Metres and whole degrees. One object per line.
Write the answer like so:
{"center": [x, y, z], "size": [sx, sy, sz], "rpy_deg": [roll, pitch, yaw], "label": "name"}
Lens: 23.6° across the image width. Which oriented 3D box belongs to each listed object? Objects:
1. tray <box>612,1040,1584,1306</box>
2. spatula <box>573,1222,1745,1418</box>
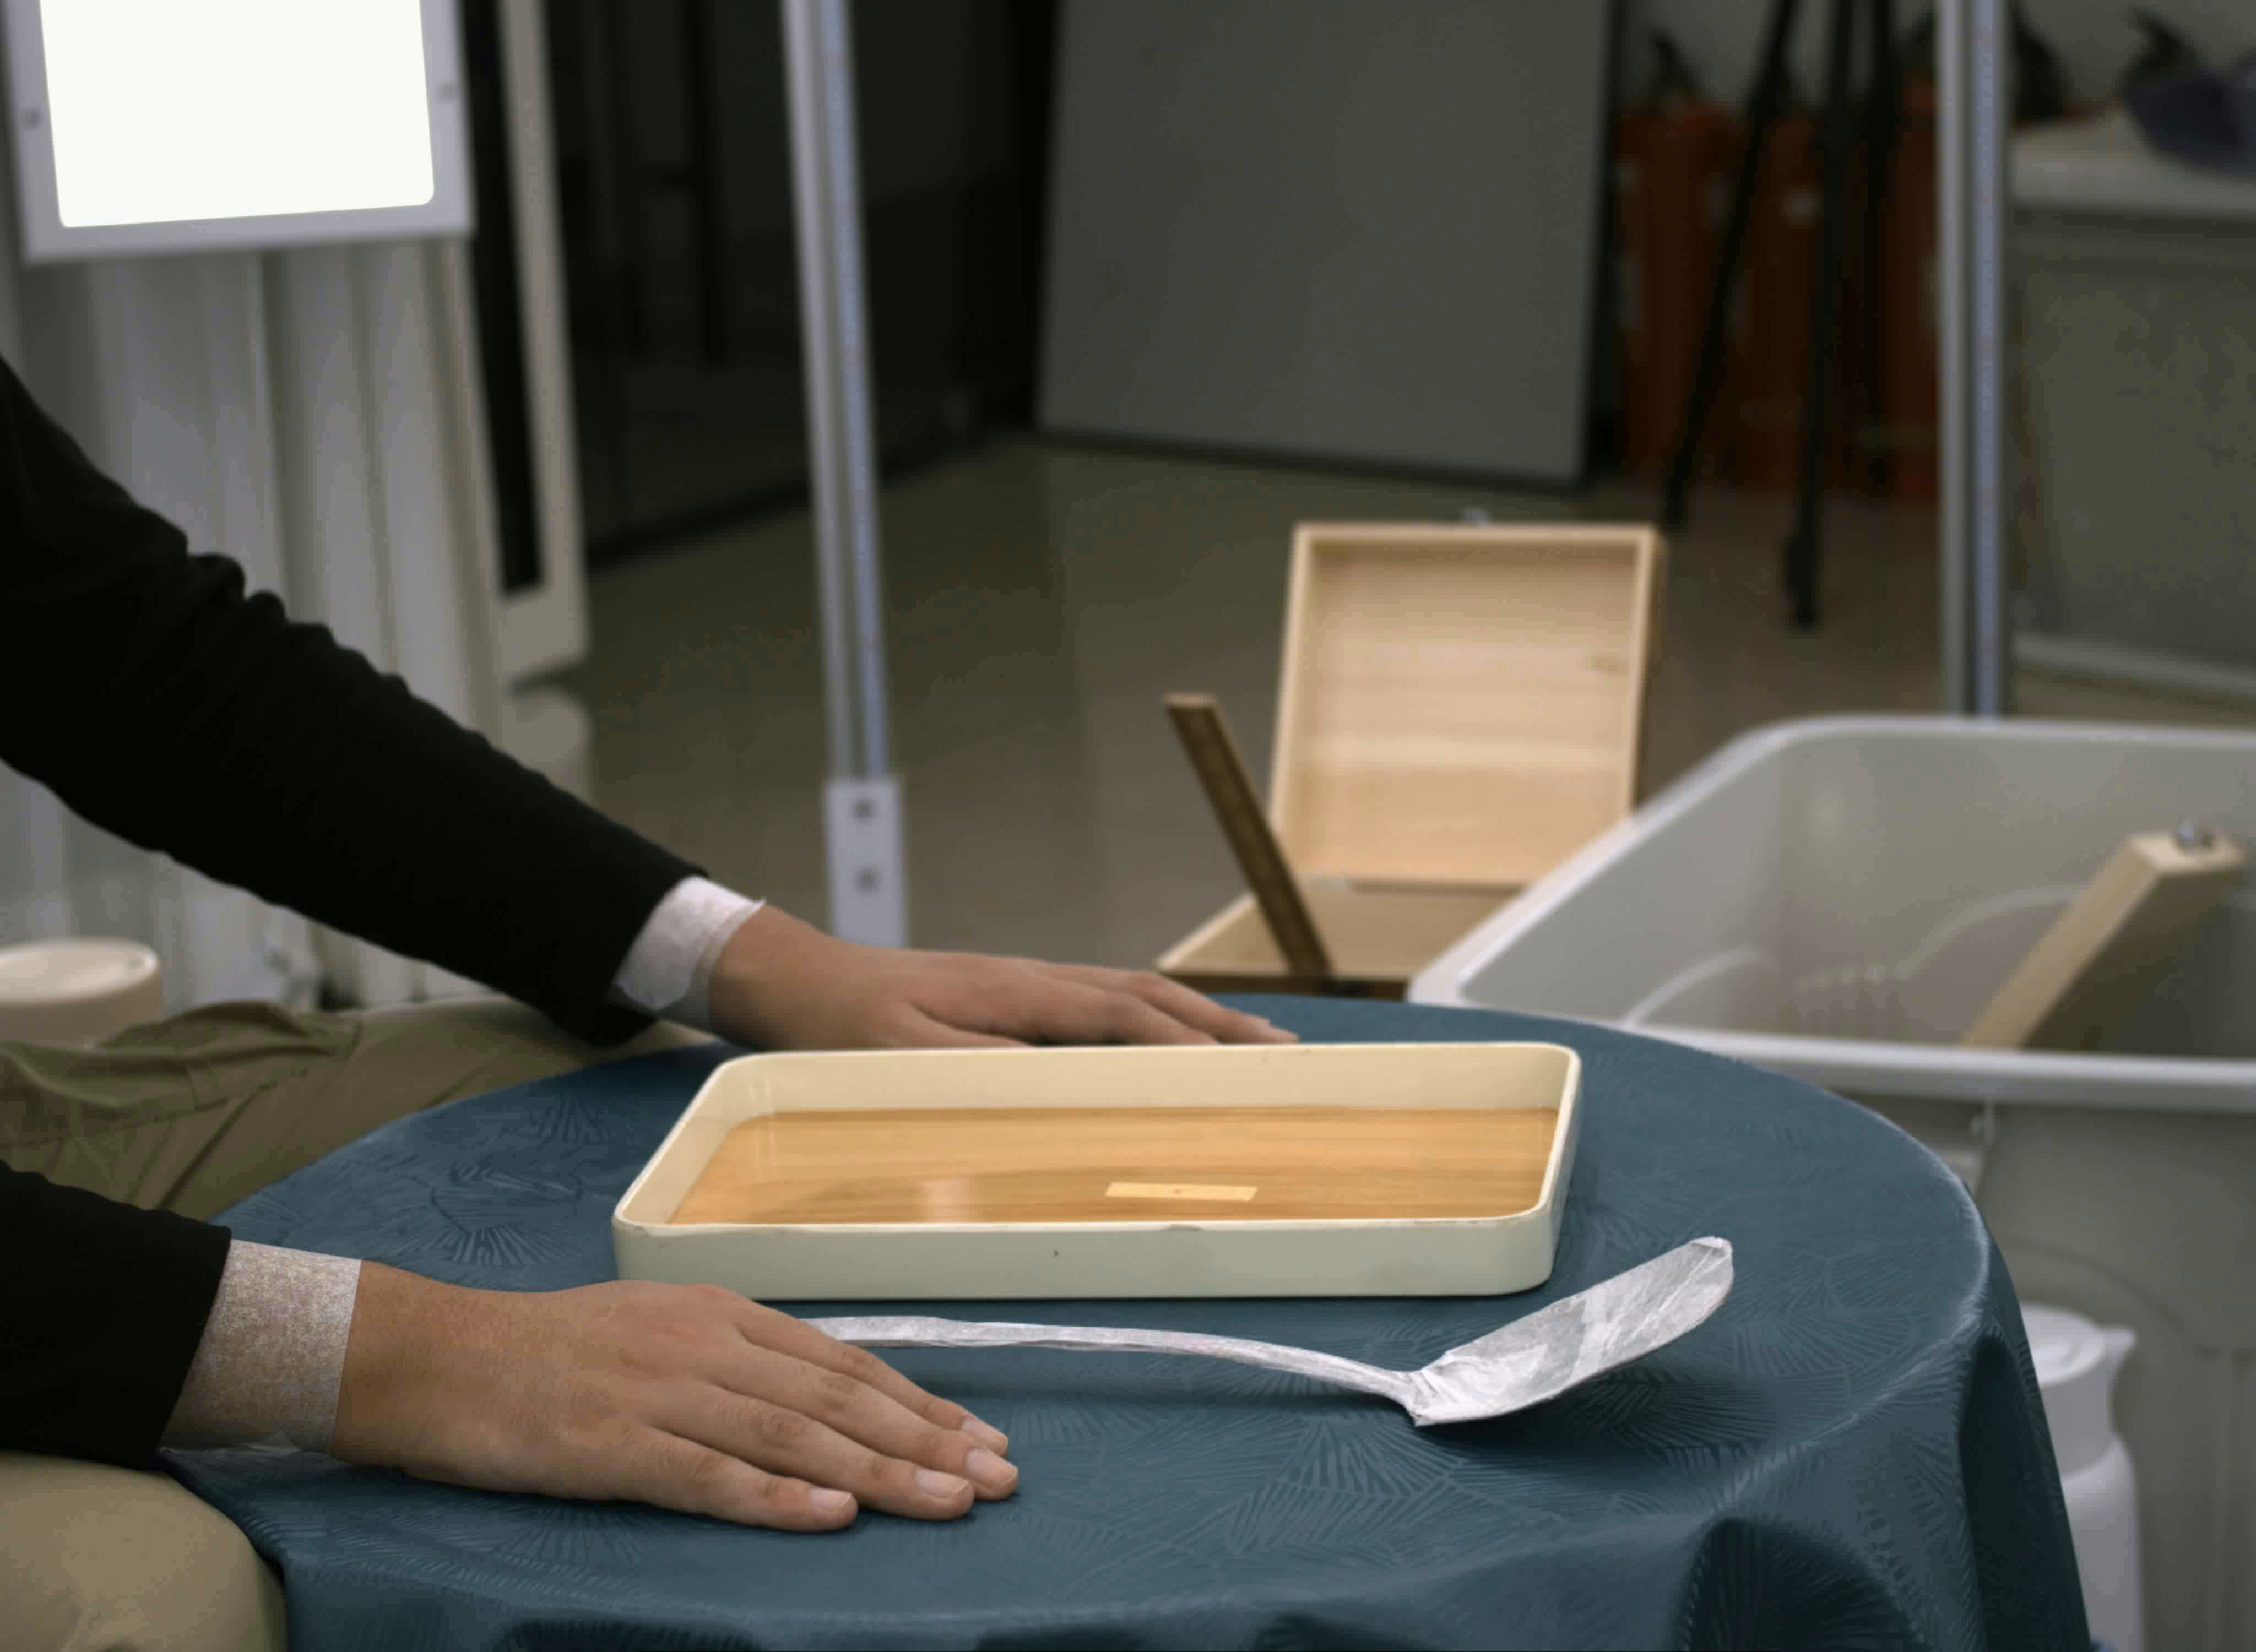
{"center": [-0.004, 0.112, 1.752], "size": [0.298, 0.028, 0.191], "rpy_deg": [-2, 14, 11], "label": "tray"}
{"center": [0.001, 0.147, 1.583], "size": [0.363, 0.045, 0.098], "rpy_deg": [0, 15, 16], "label": "spatula"}
